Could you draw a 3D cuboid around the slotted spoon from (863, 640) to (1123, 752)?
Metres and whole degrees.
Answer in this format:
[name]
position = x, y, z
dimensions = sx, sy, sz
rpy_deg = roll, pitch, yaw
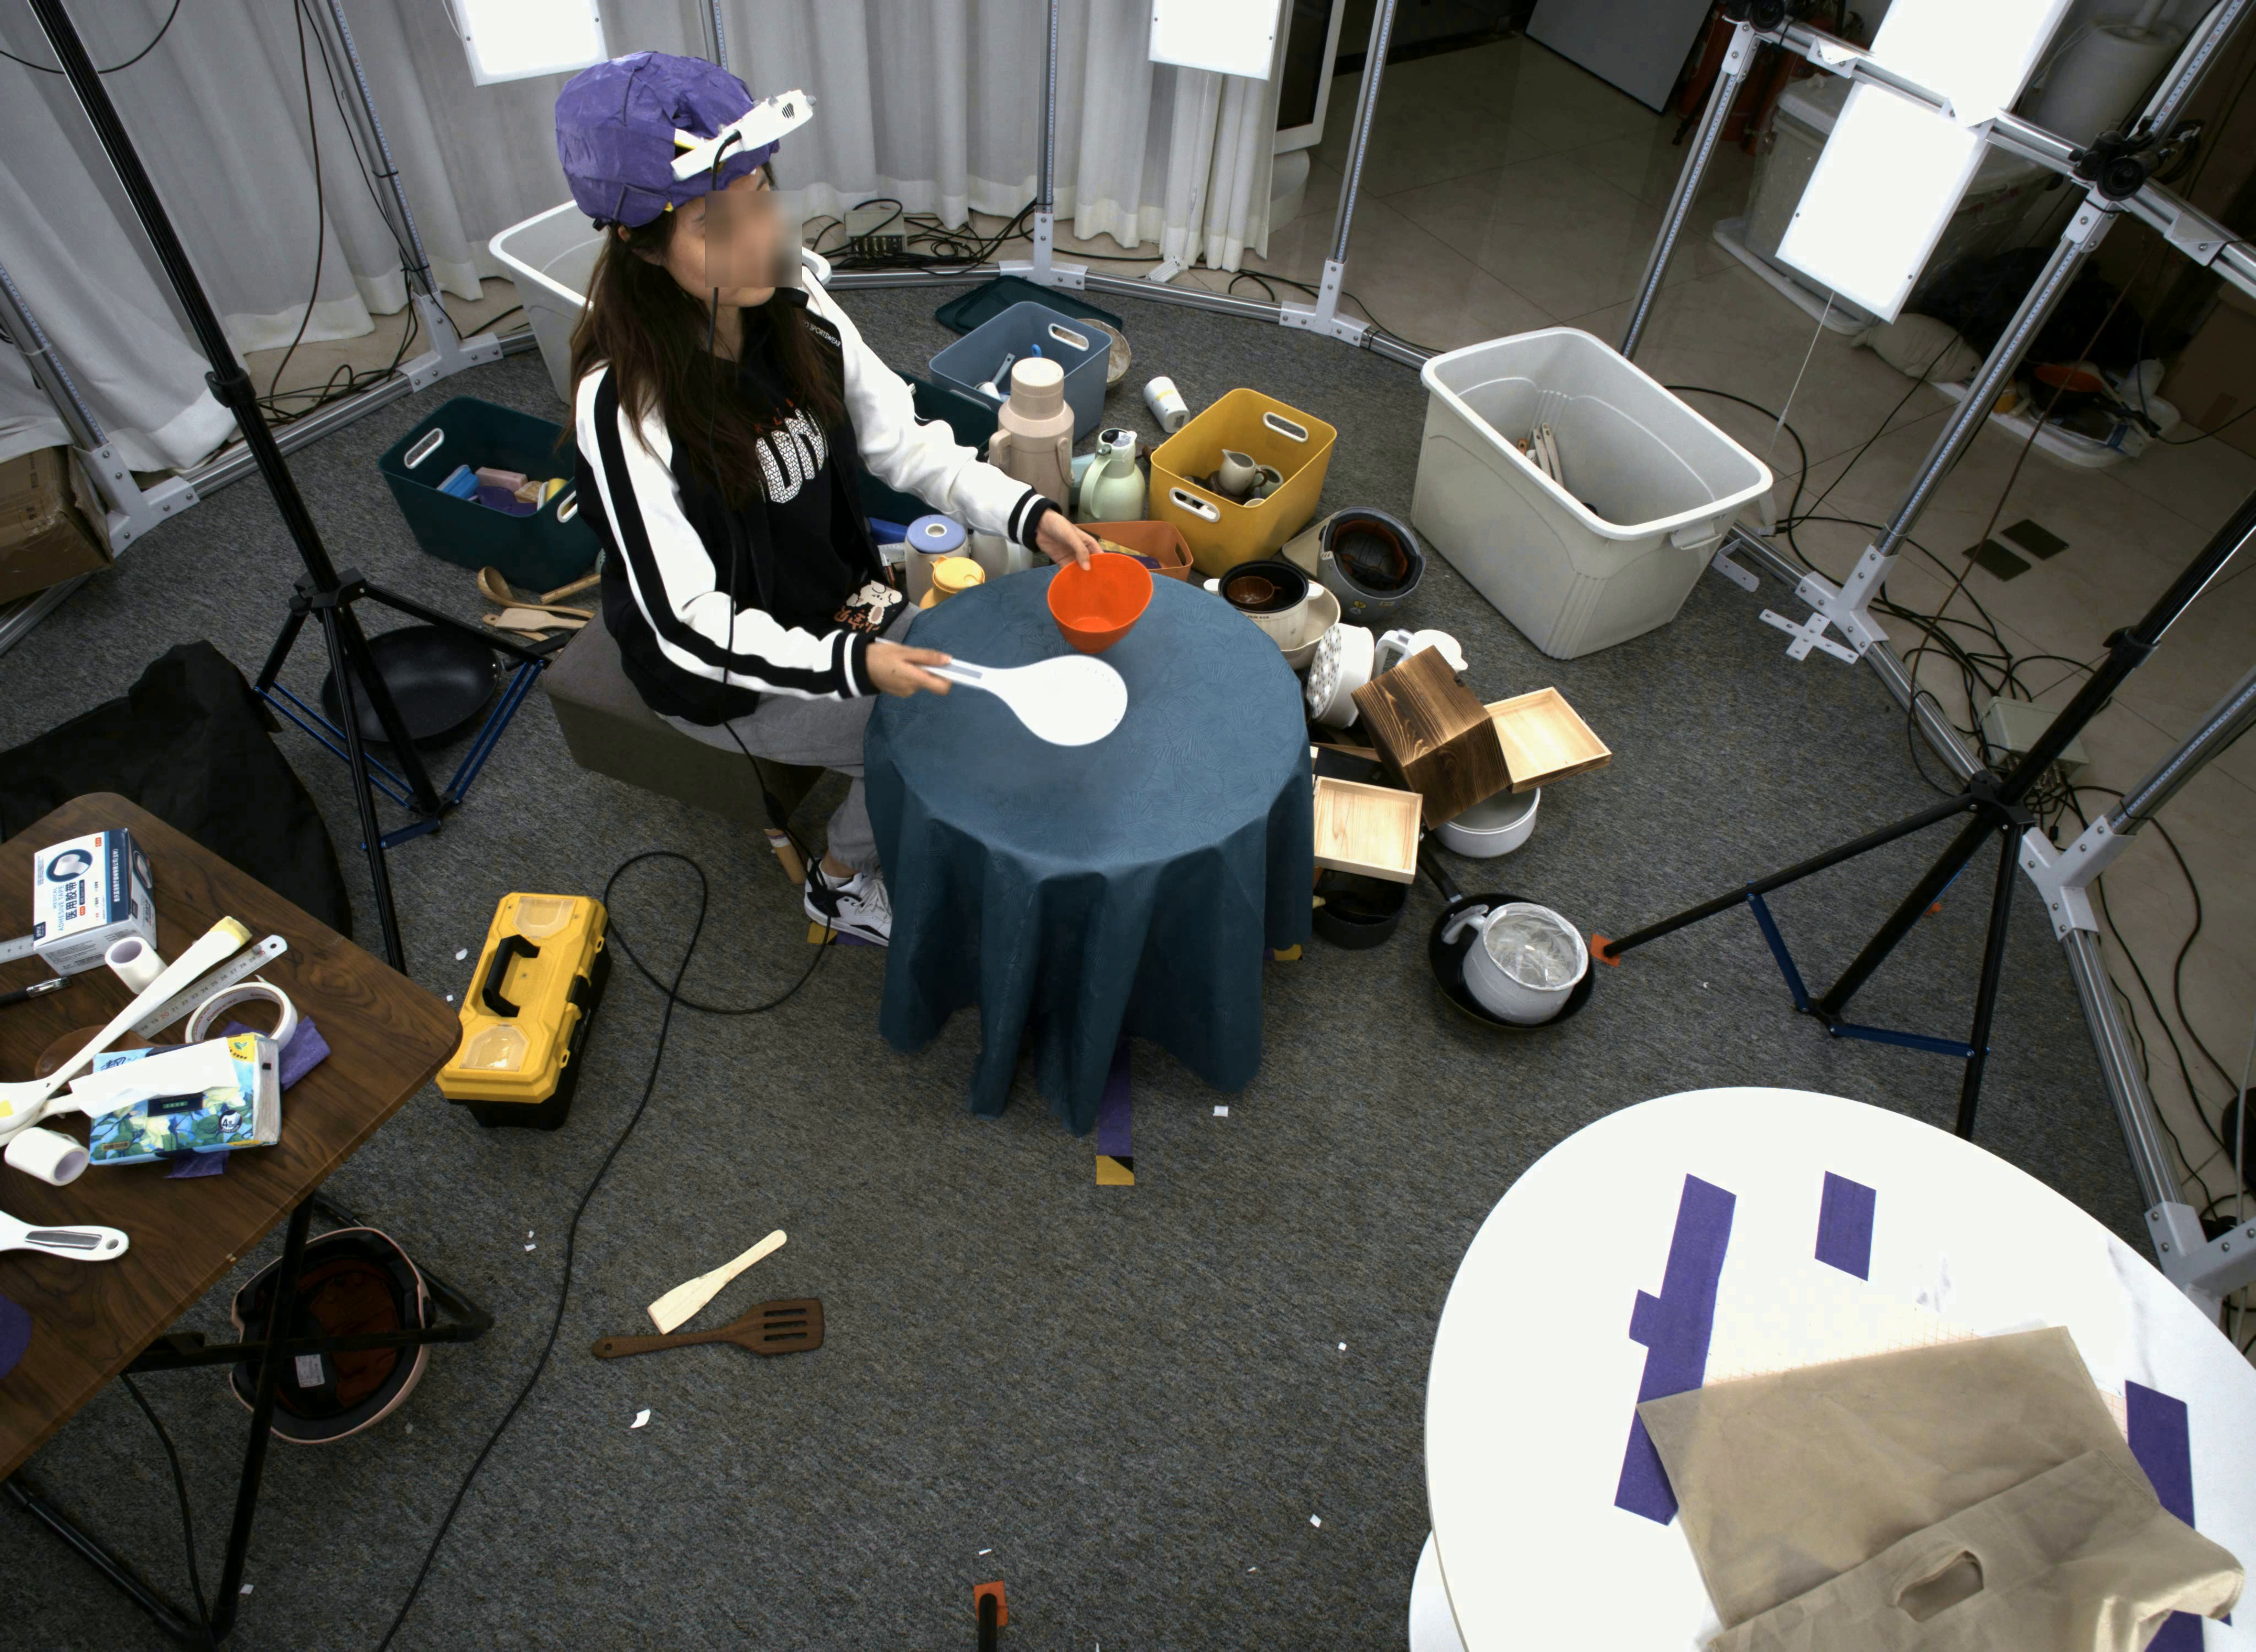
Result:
[slotted spoon]
position = -0.176, -0.179, 1.650
dimensions = 0.350, 0.045, 0.138
rpy_deg = 19, 59, 6

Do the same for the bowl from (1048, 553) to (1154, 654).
[bowl]
position = -0.039, -0.304, 1.829
dimensions = 0.148, 0.102, 0.151
rpy_deg = 1, 57, -1
